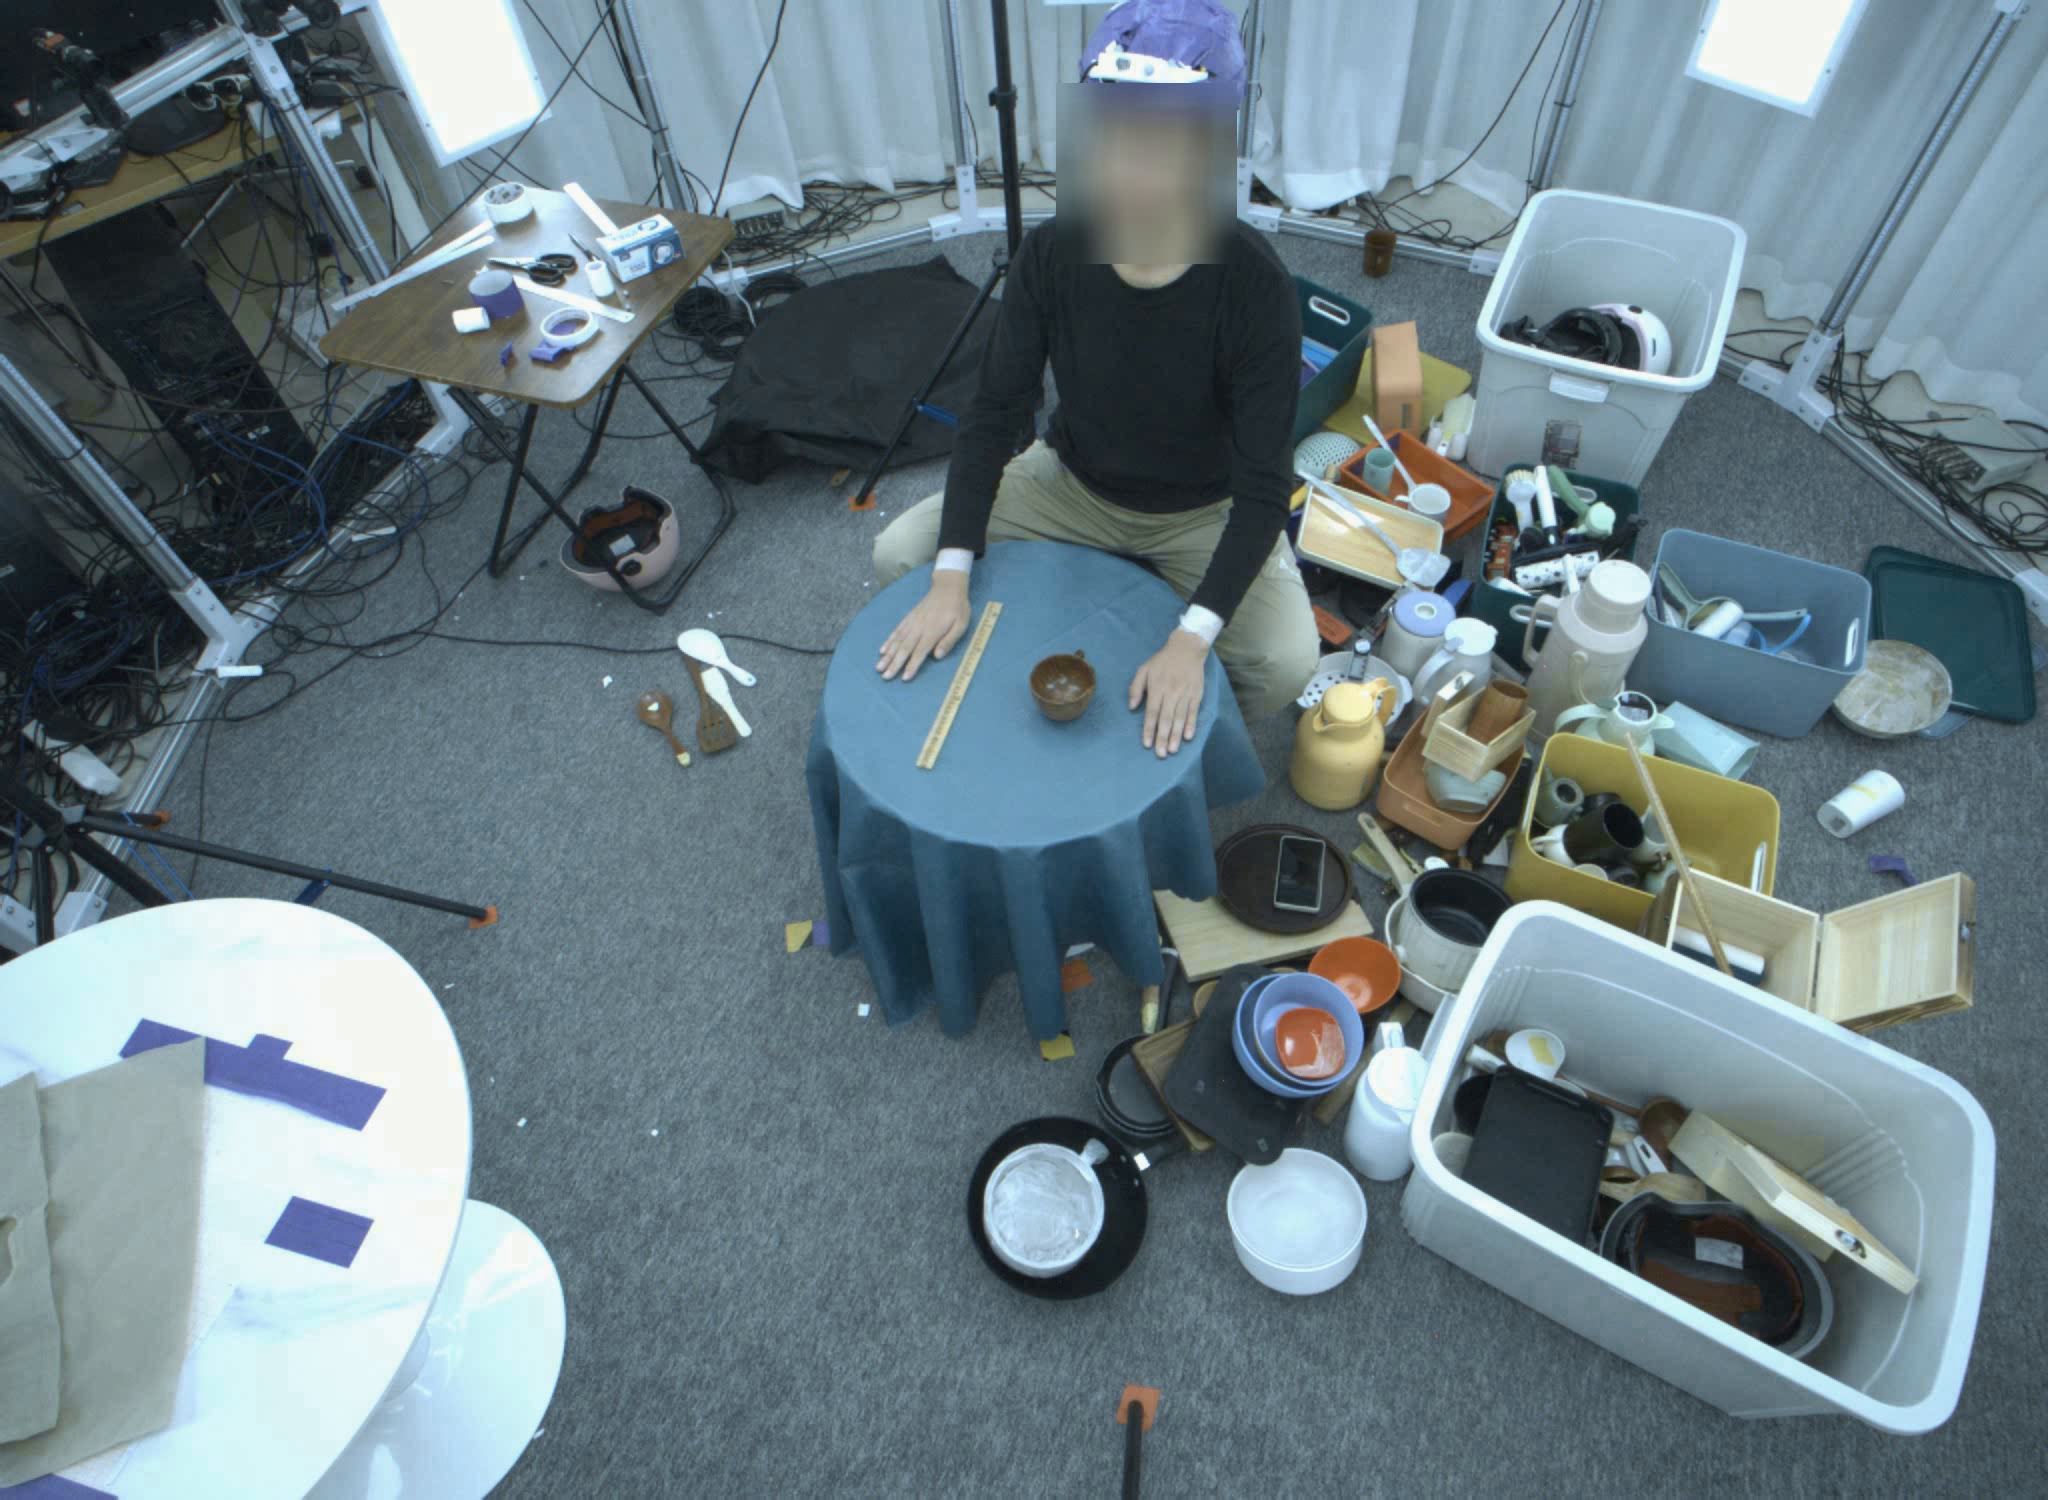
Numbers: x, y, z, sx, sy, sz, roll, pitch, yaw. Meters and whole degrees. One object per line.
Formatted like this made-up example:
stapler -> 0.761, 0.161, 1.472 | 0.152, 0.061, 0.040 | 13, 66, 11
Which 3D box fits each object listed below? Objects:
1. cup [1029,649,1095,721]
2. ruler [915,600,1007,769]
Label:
cup -> 0.062, -0.095, 1.813 | 0.095, 0.068, 0.119 | 18, 56, 17
ruler -> -0.093, -0.108, 1.861 | 0.027, 0.022, 0.331 | 17, 58, 9
